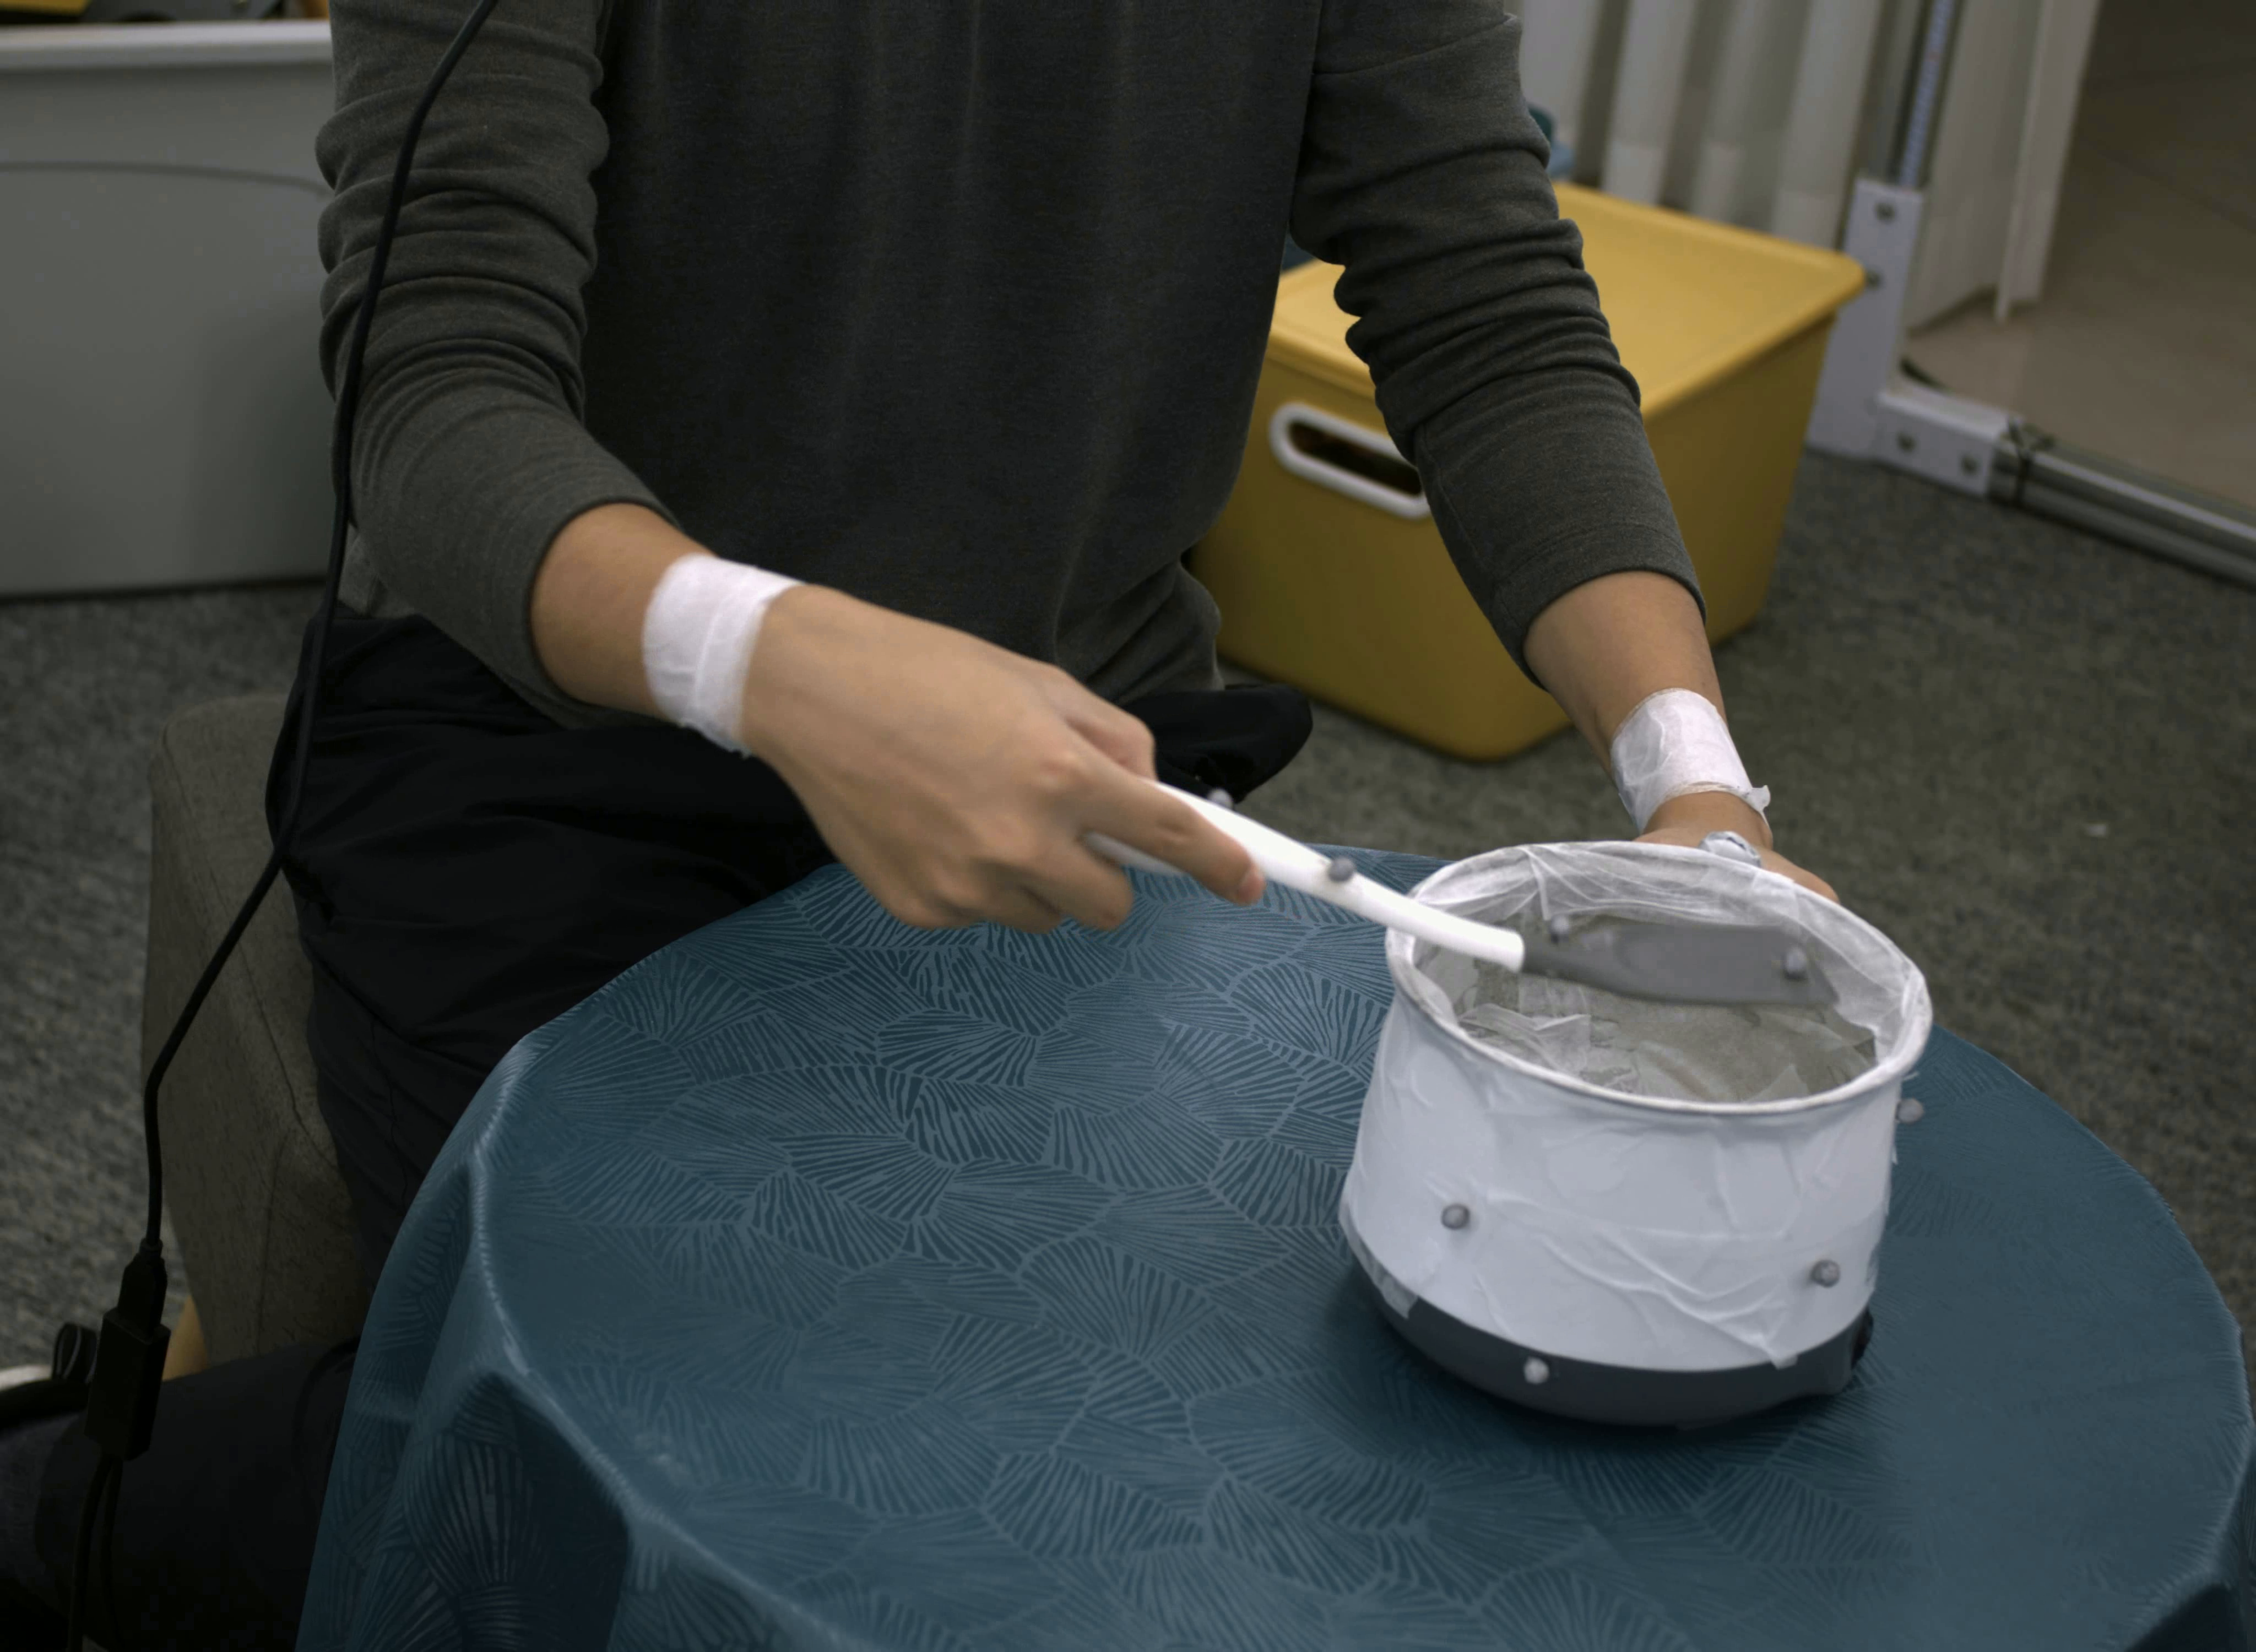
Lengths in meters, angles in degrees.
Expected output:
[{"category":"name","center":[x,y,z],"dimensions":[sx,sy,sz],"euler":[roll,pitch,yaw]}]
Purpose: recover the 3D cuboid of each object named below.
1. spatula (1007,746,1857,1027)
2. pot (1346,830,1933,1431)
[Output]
[{"category":"spatula","center":[0.098,0.025,1.675],"dimensions":[0.285,0.032,0.059],"euler":[15,18,-21]},{"category":"pot","center":[0.171,0.090,1.758],"dimensions":[0.179,0.136,0.234],"euler":[14,28,13]}]
